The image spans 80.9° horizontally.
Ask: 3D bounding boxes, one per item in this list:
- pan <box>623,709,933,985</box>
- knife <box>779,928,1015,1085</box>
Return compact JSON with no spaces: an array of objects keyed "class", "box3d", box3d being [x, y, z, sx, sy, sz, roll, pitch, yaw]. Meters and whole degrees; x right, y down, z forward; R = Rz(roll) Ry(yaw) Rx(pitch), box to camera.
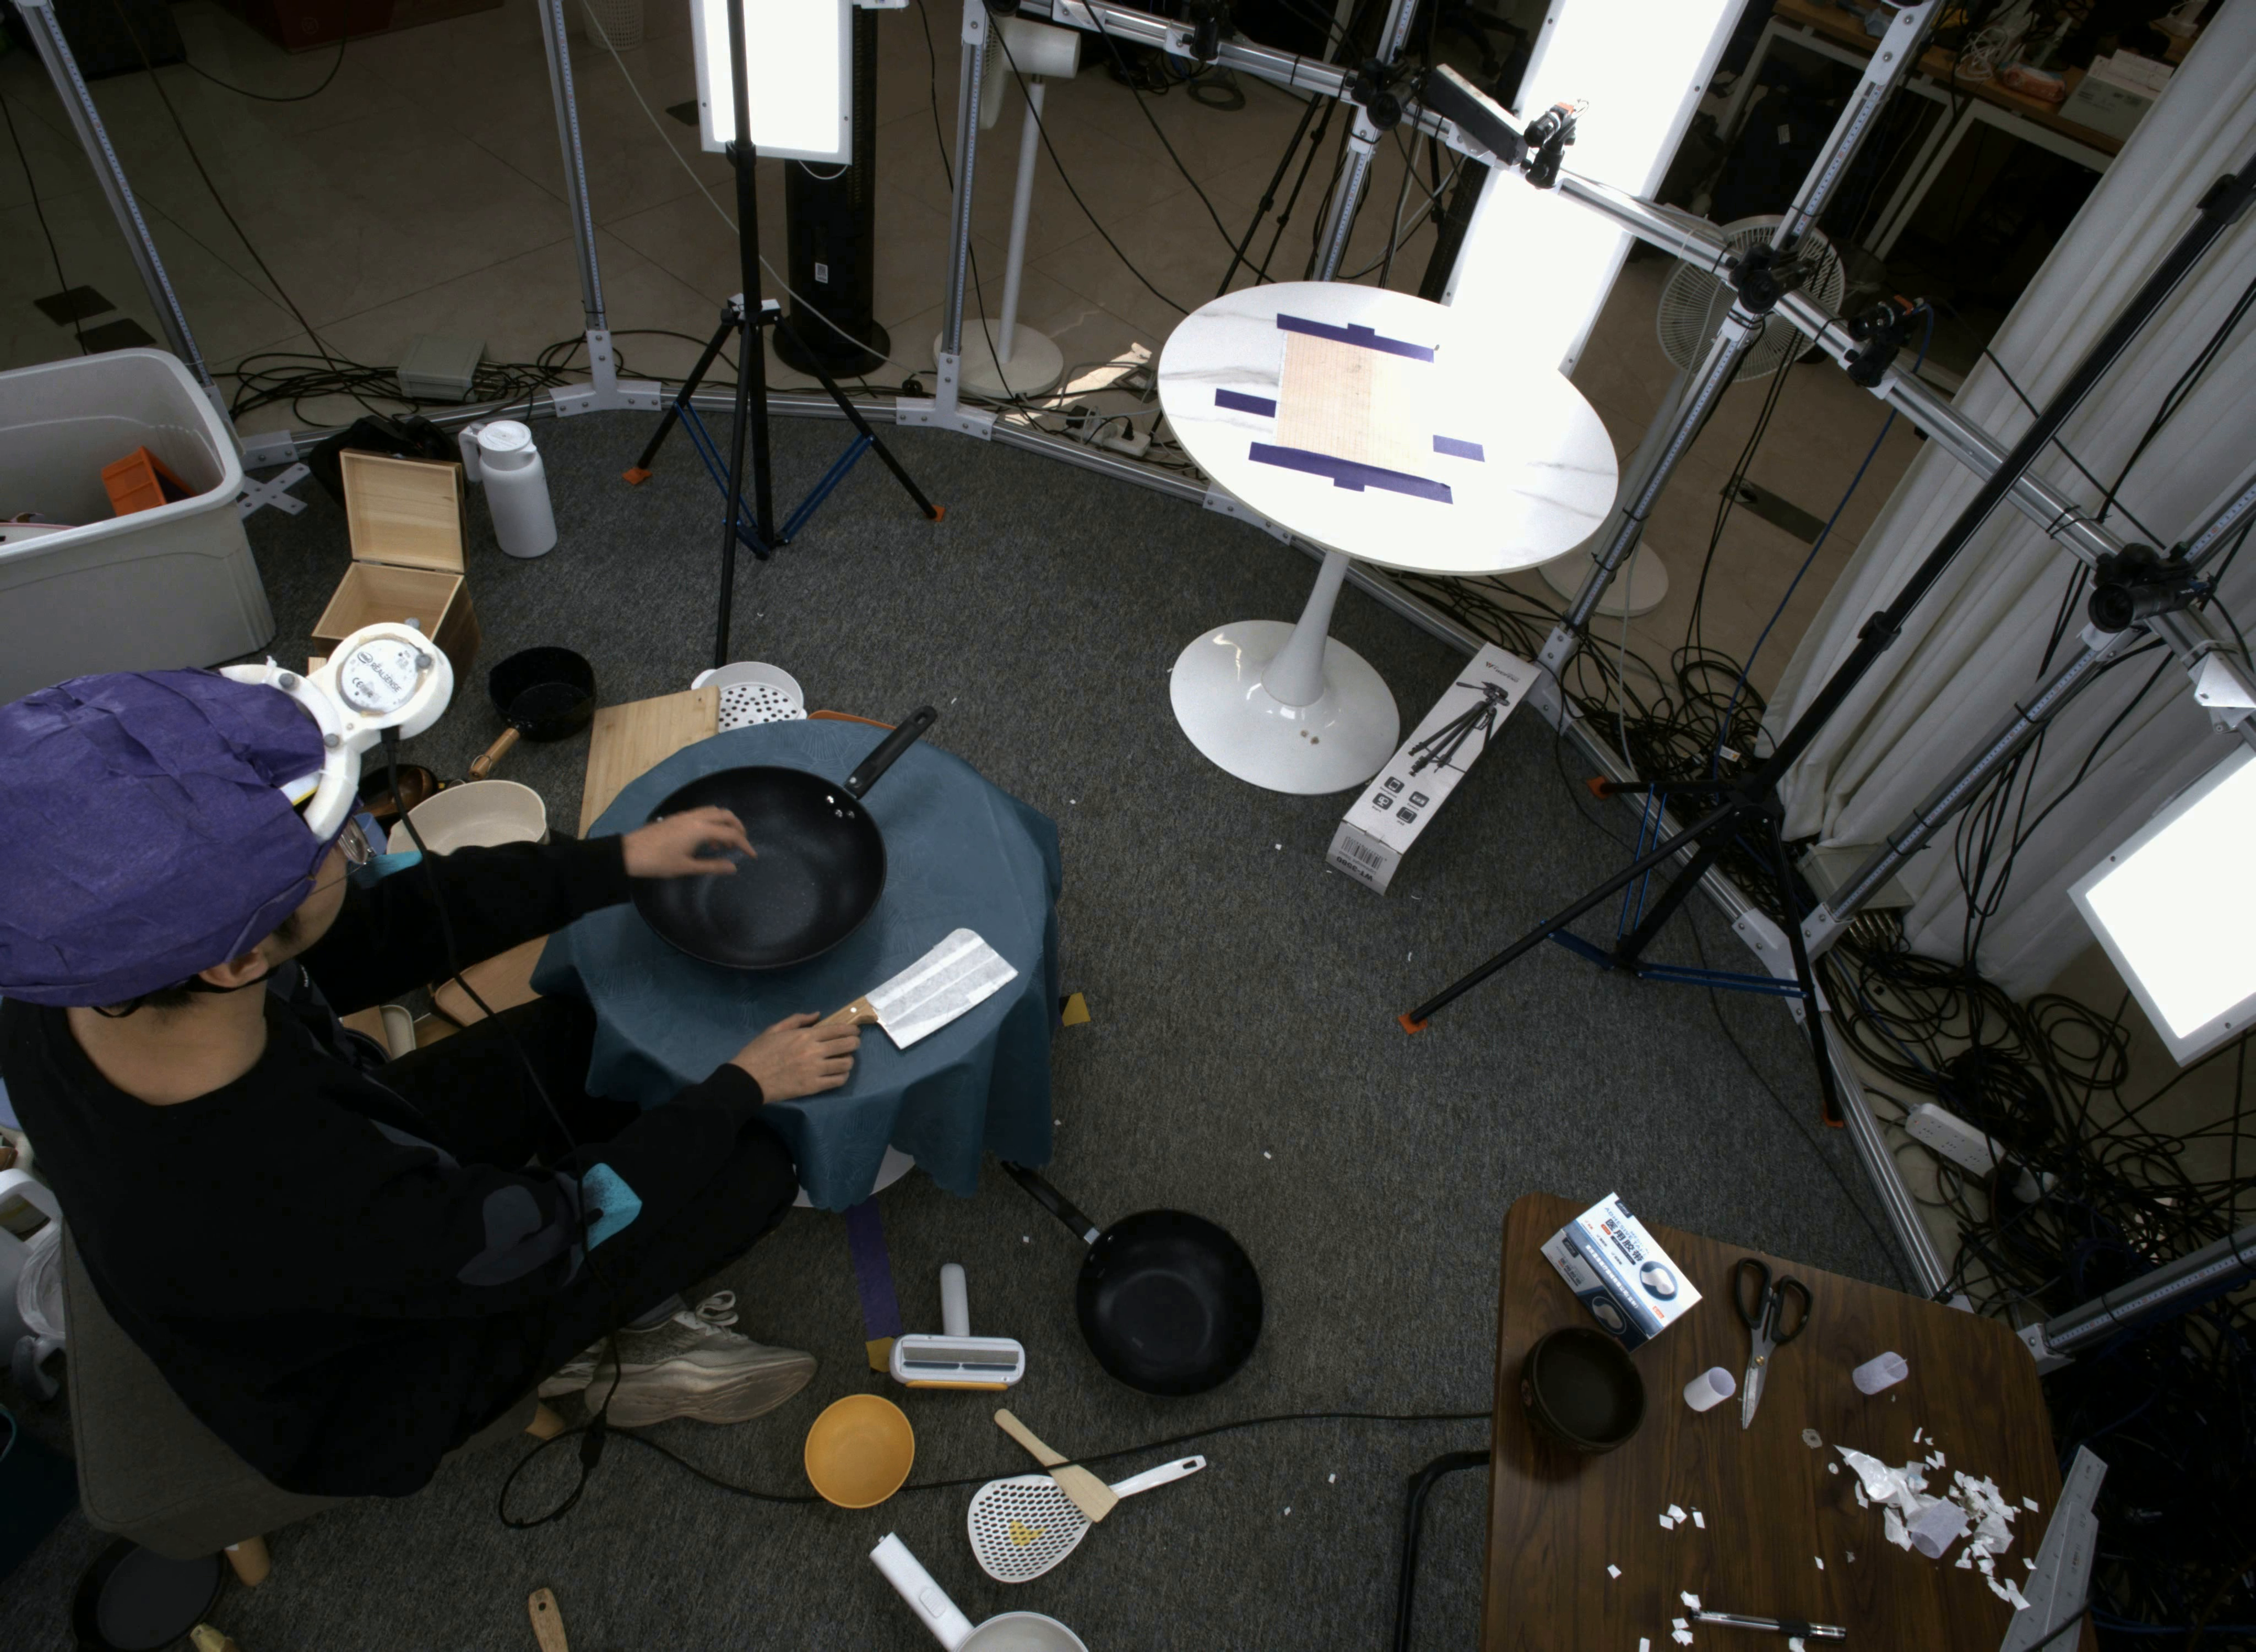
[{"class":"pan","box3d":[-0.410,0.017,1.636,0.305,0.113,0.476,35,53,11]},{"class":"knife","box3d":[-0.281,0.217,1.578,0.317,0.022,0.111,-29,66,-34]}]
